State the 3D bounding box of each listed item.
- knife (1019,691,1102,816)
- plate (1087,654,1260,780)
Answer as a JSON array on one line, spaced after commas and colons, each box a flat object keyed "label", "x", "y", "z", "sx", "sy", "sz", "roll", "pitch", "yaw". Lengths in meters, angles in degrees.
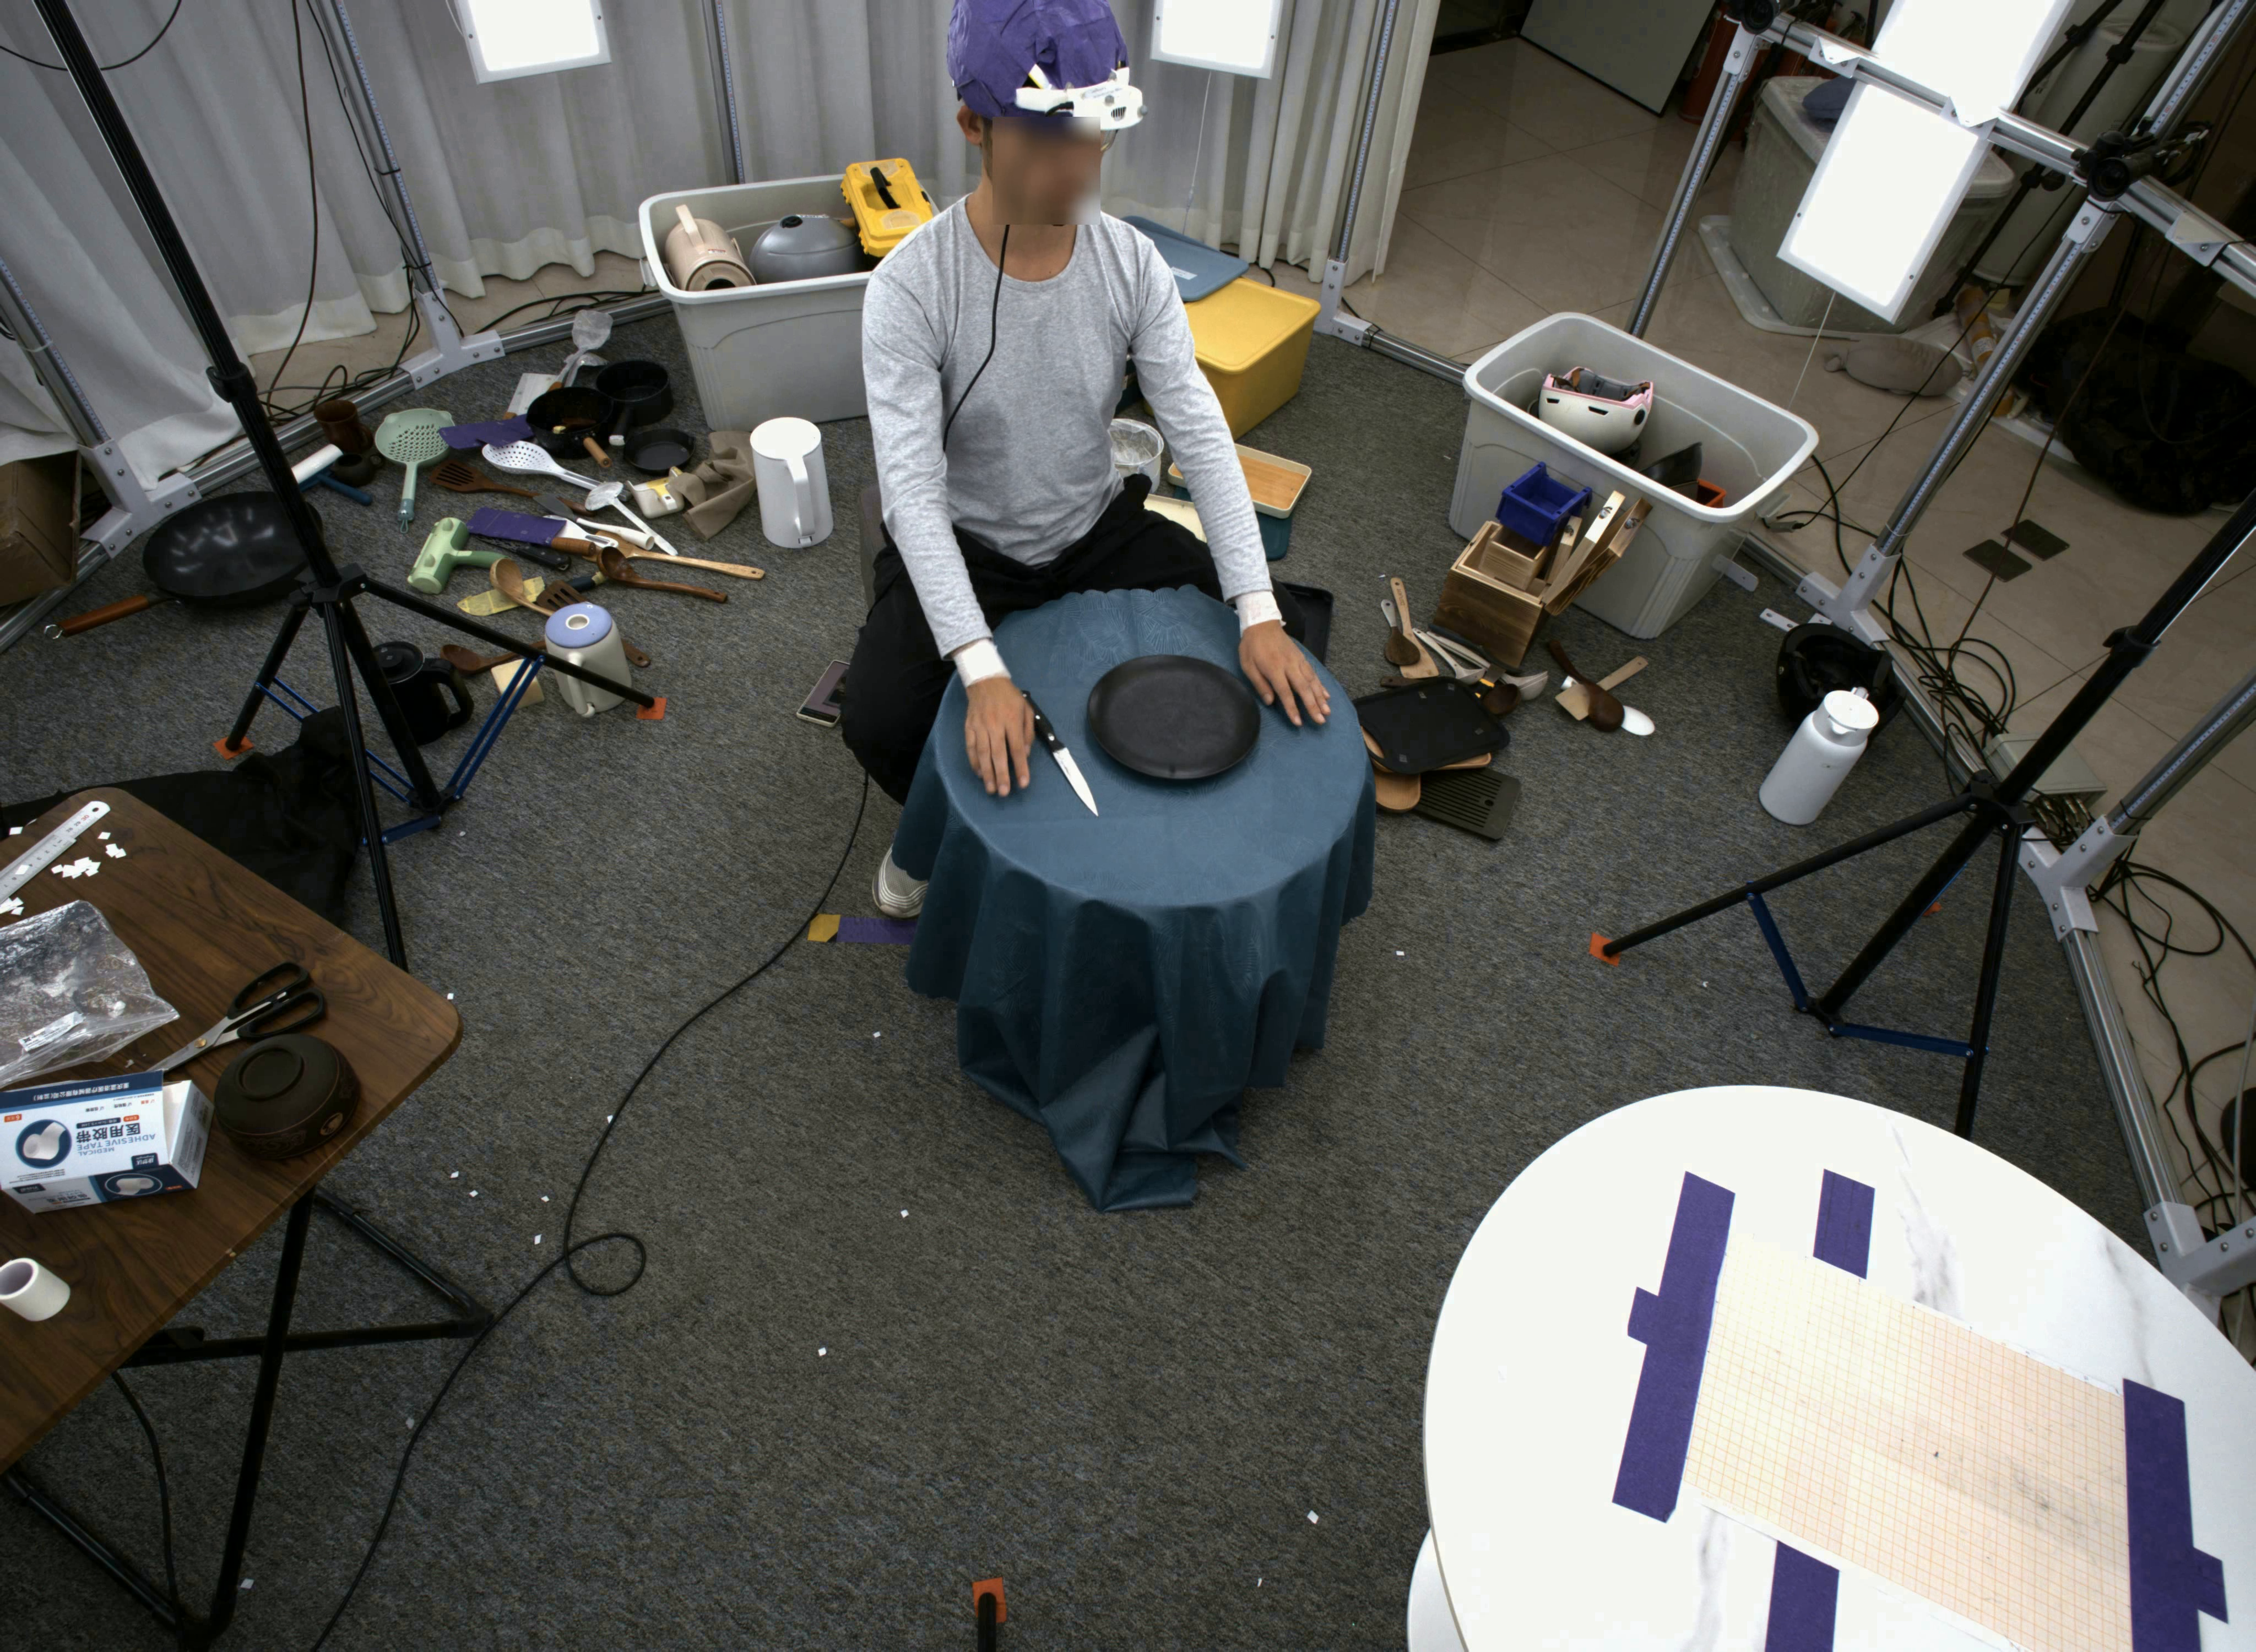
[{"label": "knife", "x": -0.093, "y": -0.099, "z": 1.740, "sx": 0.024, "sy": 0.016, "sz": 0.243, "roll": -19, "pitch": 56, "yaw": -20}, {"label": "plate", "x": 0.063, "y": -0.150, "z": 1.787, "sx": 0.244, "sy": 0.023, "sz": 0.250, "roll": 2, "pitch": 49, "yaw": -2}]
